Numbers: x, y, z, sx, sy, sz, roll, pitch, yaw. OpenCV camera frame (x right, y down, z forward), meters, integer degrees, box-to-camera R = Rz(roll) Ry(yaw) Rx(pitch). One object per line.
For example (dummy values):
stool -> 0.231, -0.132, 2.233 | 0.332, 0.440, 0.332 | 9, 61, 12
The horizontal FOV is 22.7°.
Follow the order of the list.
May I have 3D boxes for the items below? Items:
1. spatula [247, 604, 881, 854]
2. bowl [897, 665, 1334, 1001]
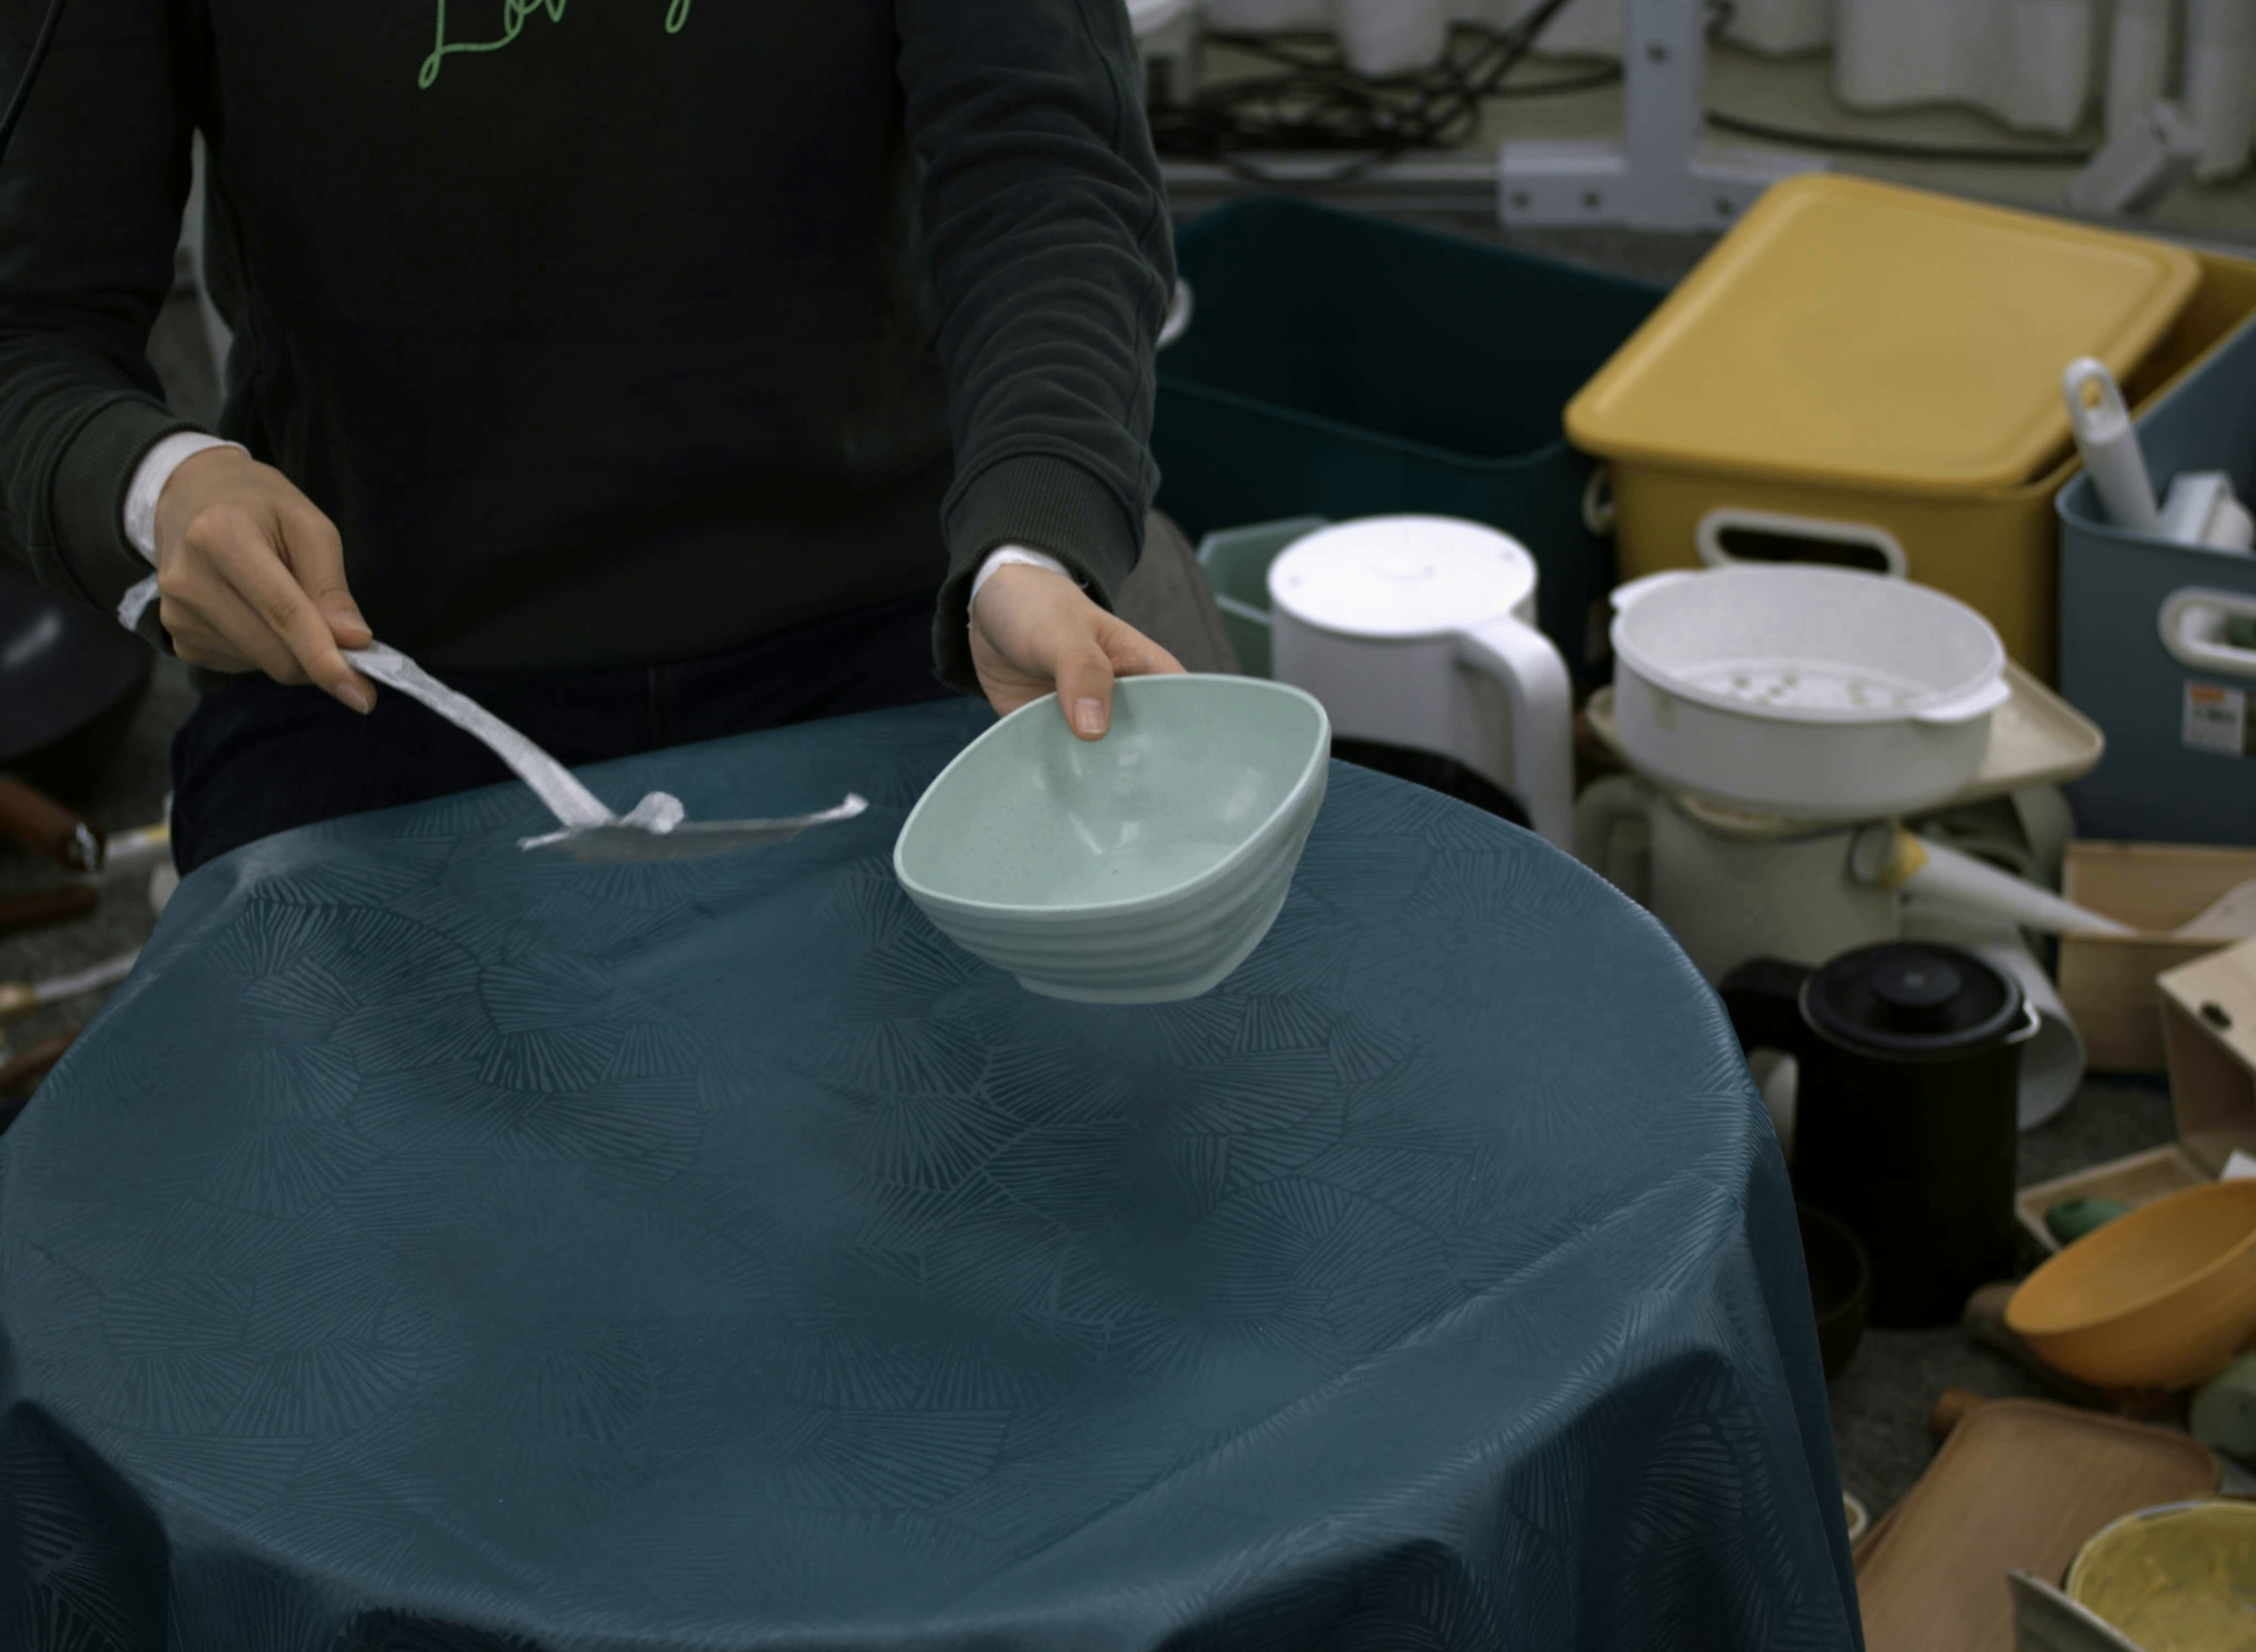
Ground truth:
spatula -> -0.211, -0.041, 1.867 | 0.099, 0.044, 0.365 | -5, 20, -35
bowl -> 0.002, 0.010, 1.849 | 0.150, 0.058, 0.154 | -12, 31, 8
